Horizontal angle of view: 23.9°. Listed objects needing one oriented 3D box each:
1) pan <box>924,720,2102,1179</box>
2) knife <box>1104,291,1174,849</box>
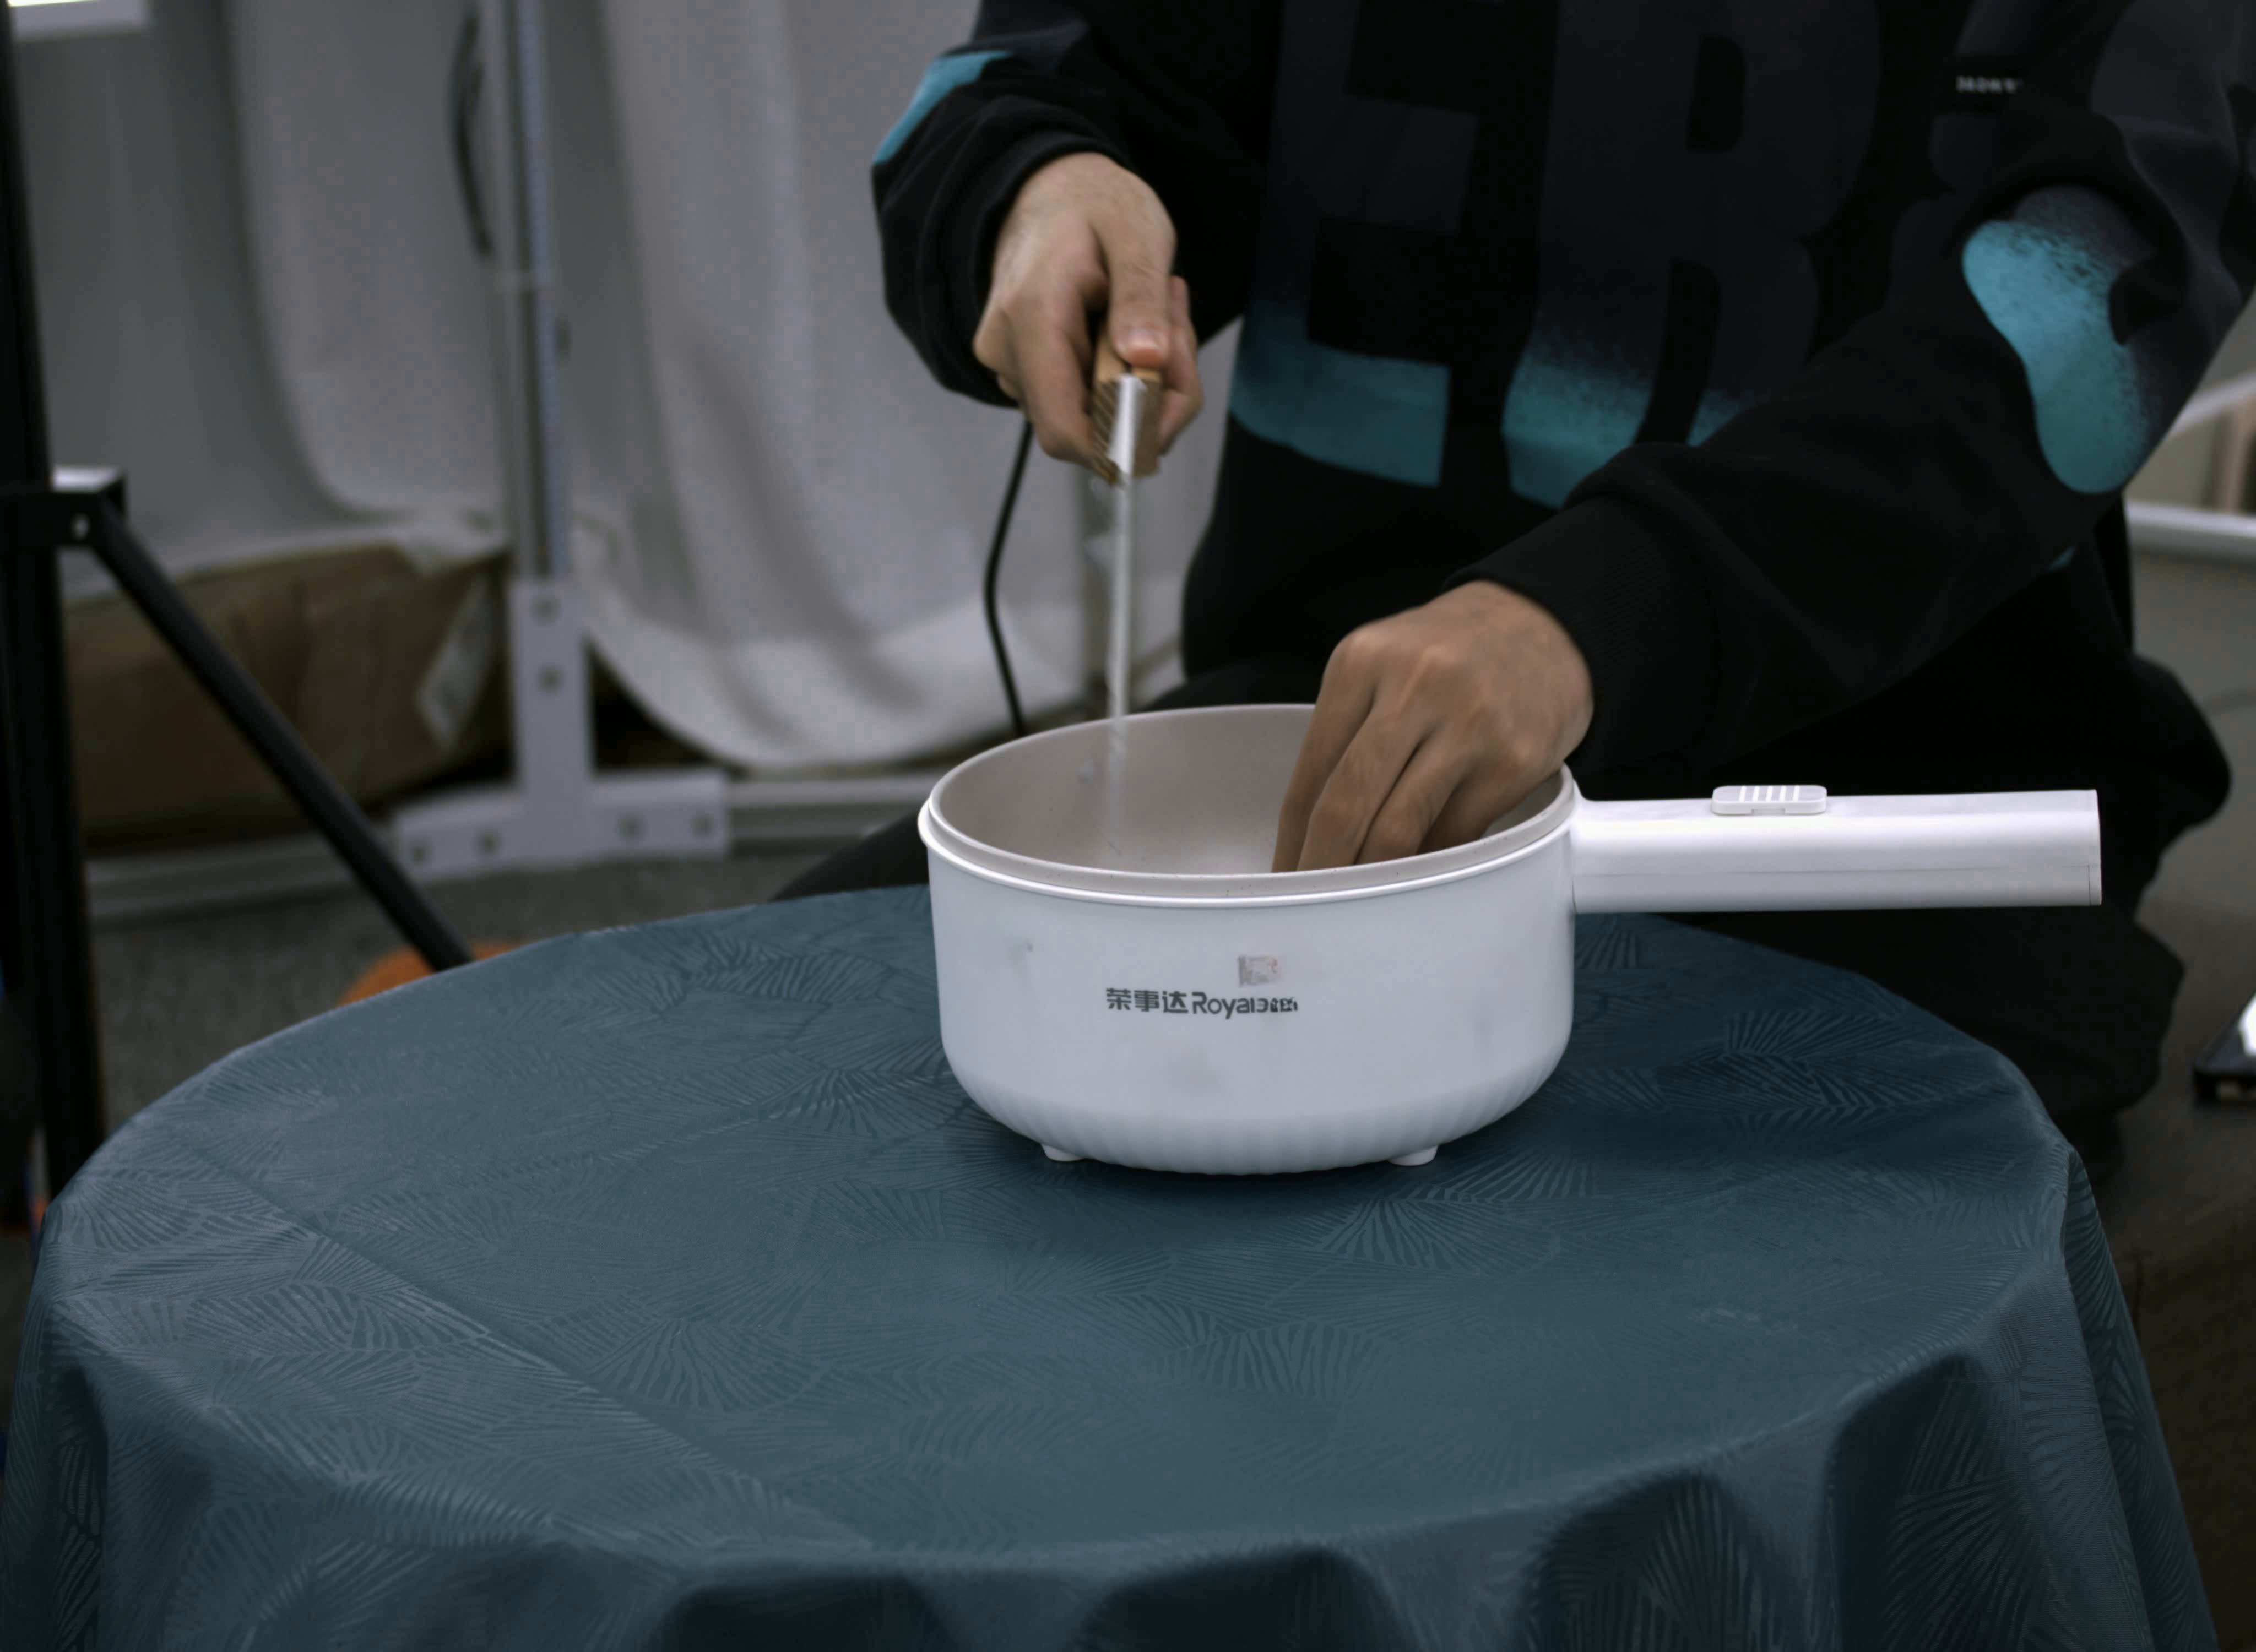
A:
[{"bbox_3d":[0.115,0.041,1.602,0.356,0.102,0.200,1,14,10],"label":"pan"},{"bbox_3d":[0.003,-0.098,1.657,0.021,0.114,0.317,2,27,-1],"label":"knife"}]
